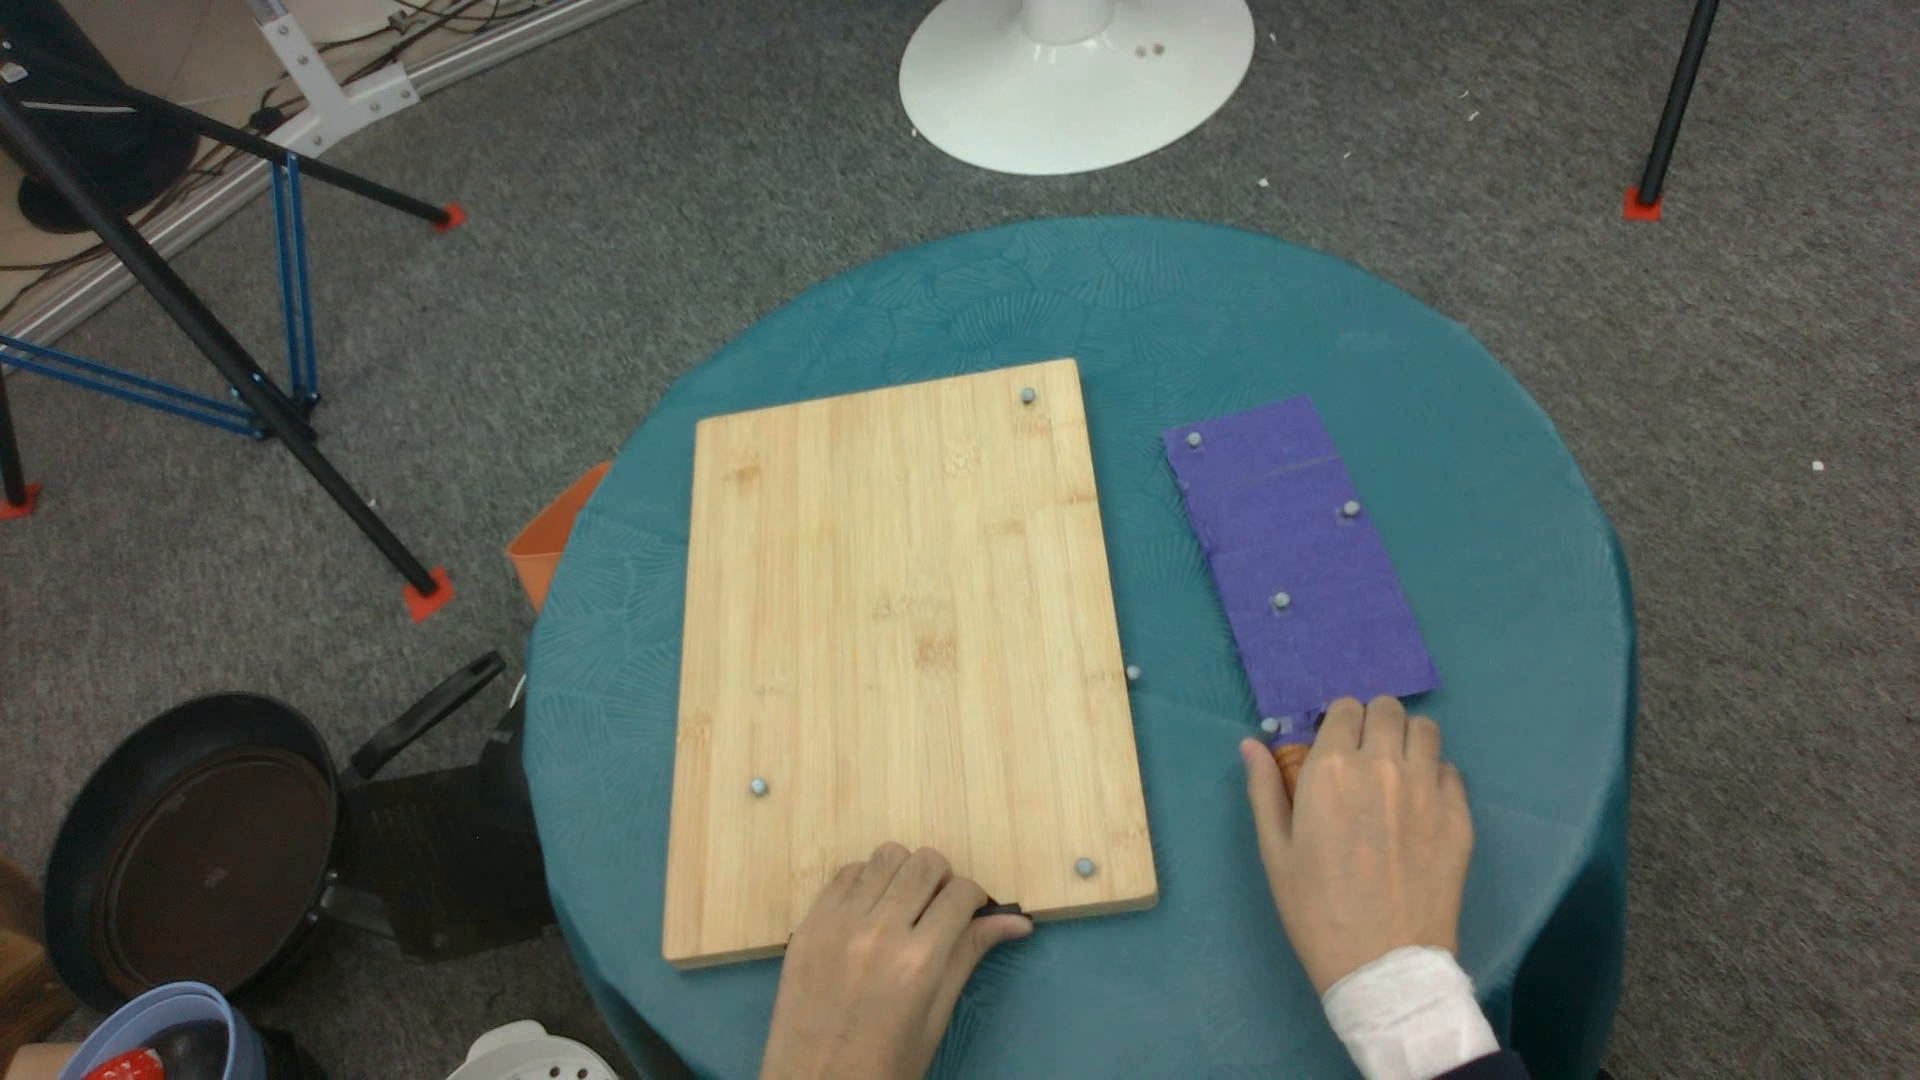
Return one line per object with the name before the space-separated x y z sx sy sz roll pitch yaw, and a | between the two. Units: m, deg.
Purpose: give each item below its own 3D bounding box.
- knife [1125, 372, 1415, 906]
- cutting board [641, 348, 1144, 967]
knife | 0.175 0.029 0.712 0.104 0.032 0.316 -15 54 1
cutting board | -0.044 0.044 0.751 0.250 0.023 0.350 -10 55 5
